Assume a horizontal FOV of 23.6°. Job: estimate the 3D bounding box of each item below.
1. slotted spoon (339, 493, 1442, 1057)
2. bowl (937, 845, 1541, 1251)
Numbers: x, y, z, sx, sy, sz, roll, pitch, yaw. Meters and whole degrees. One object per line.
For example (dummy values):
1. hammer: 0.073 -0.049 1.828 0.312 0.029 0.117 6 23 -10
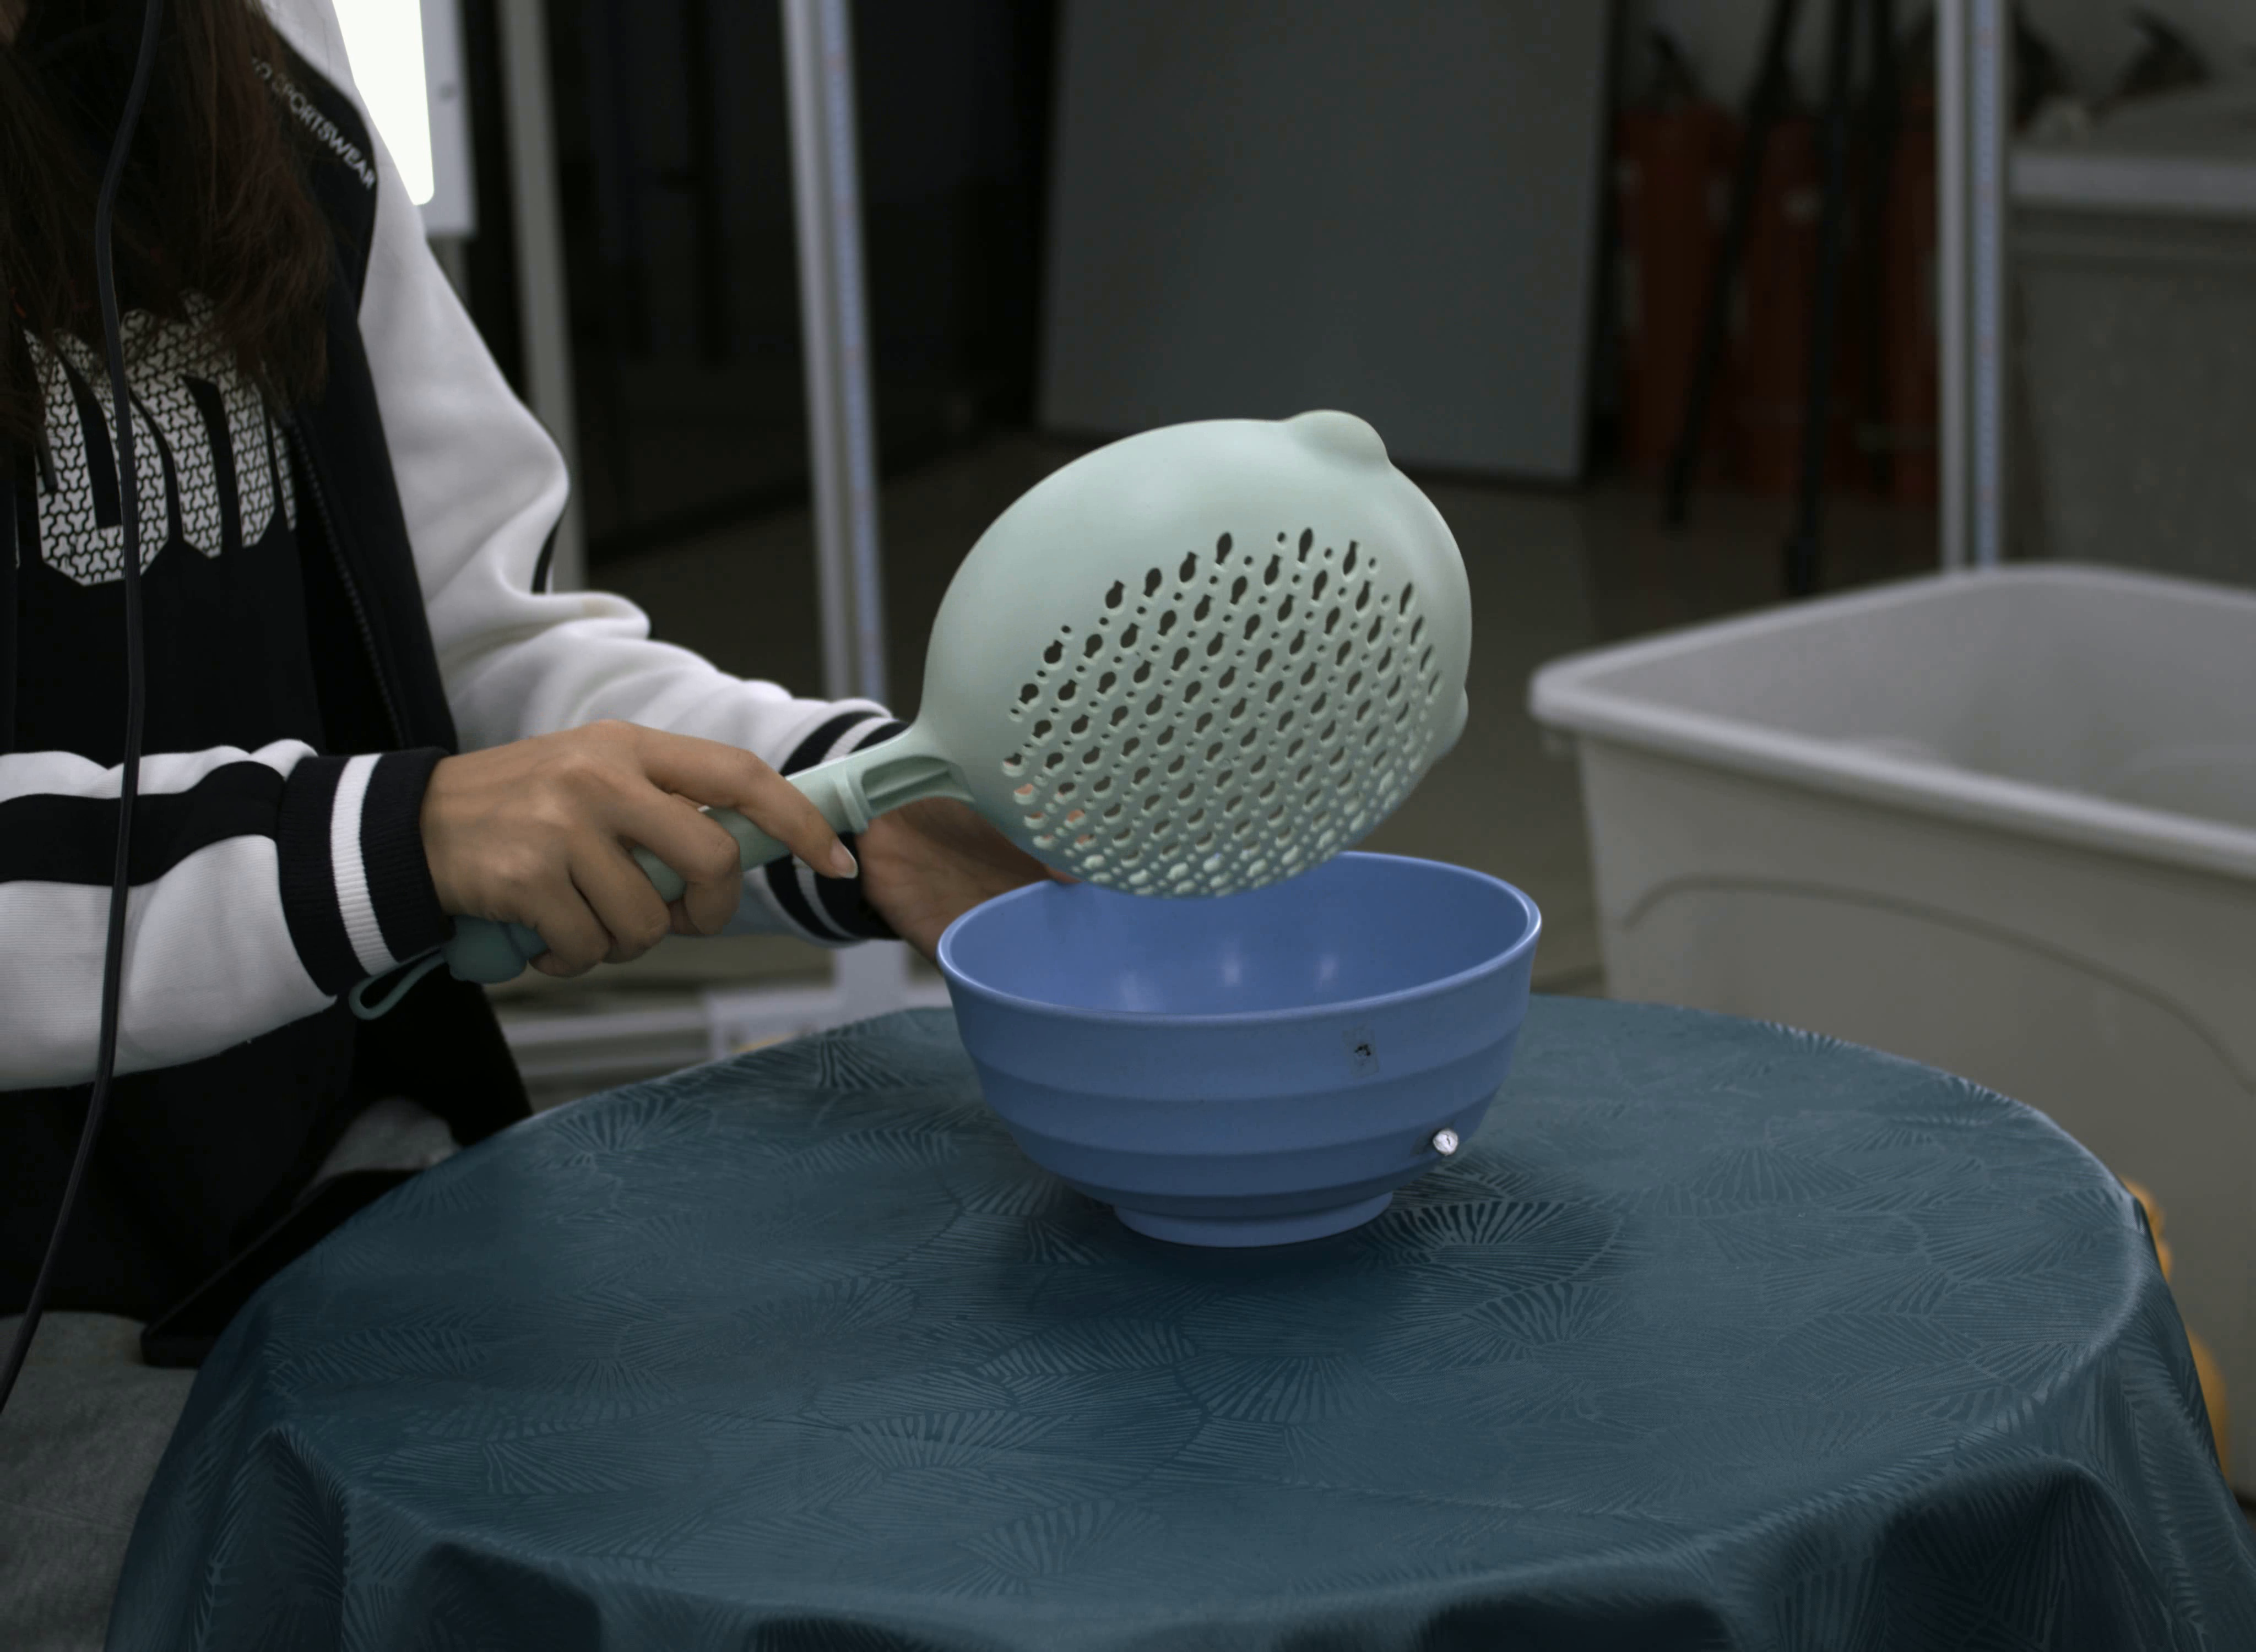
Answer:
1. slotted spoon: -0.074 -0.003 1.635 0.356 0.076 0.168 -13 -29 10
2. bowl: 0.038 0.077 1.738 0.194 0.096 0.197 -4 14 0
